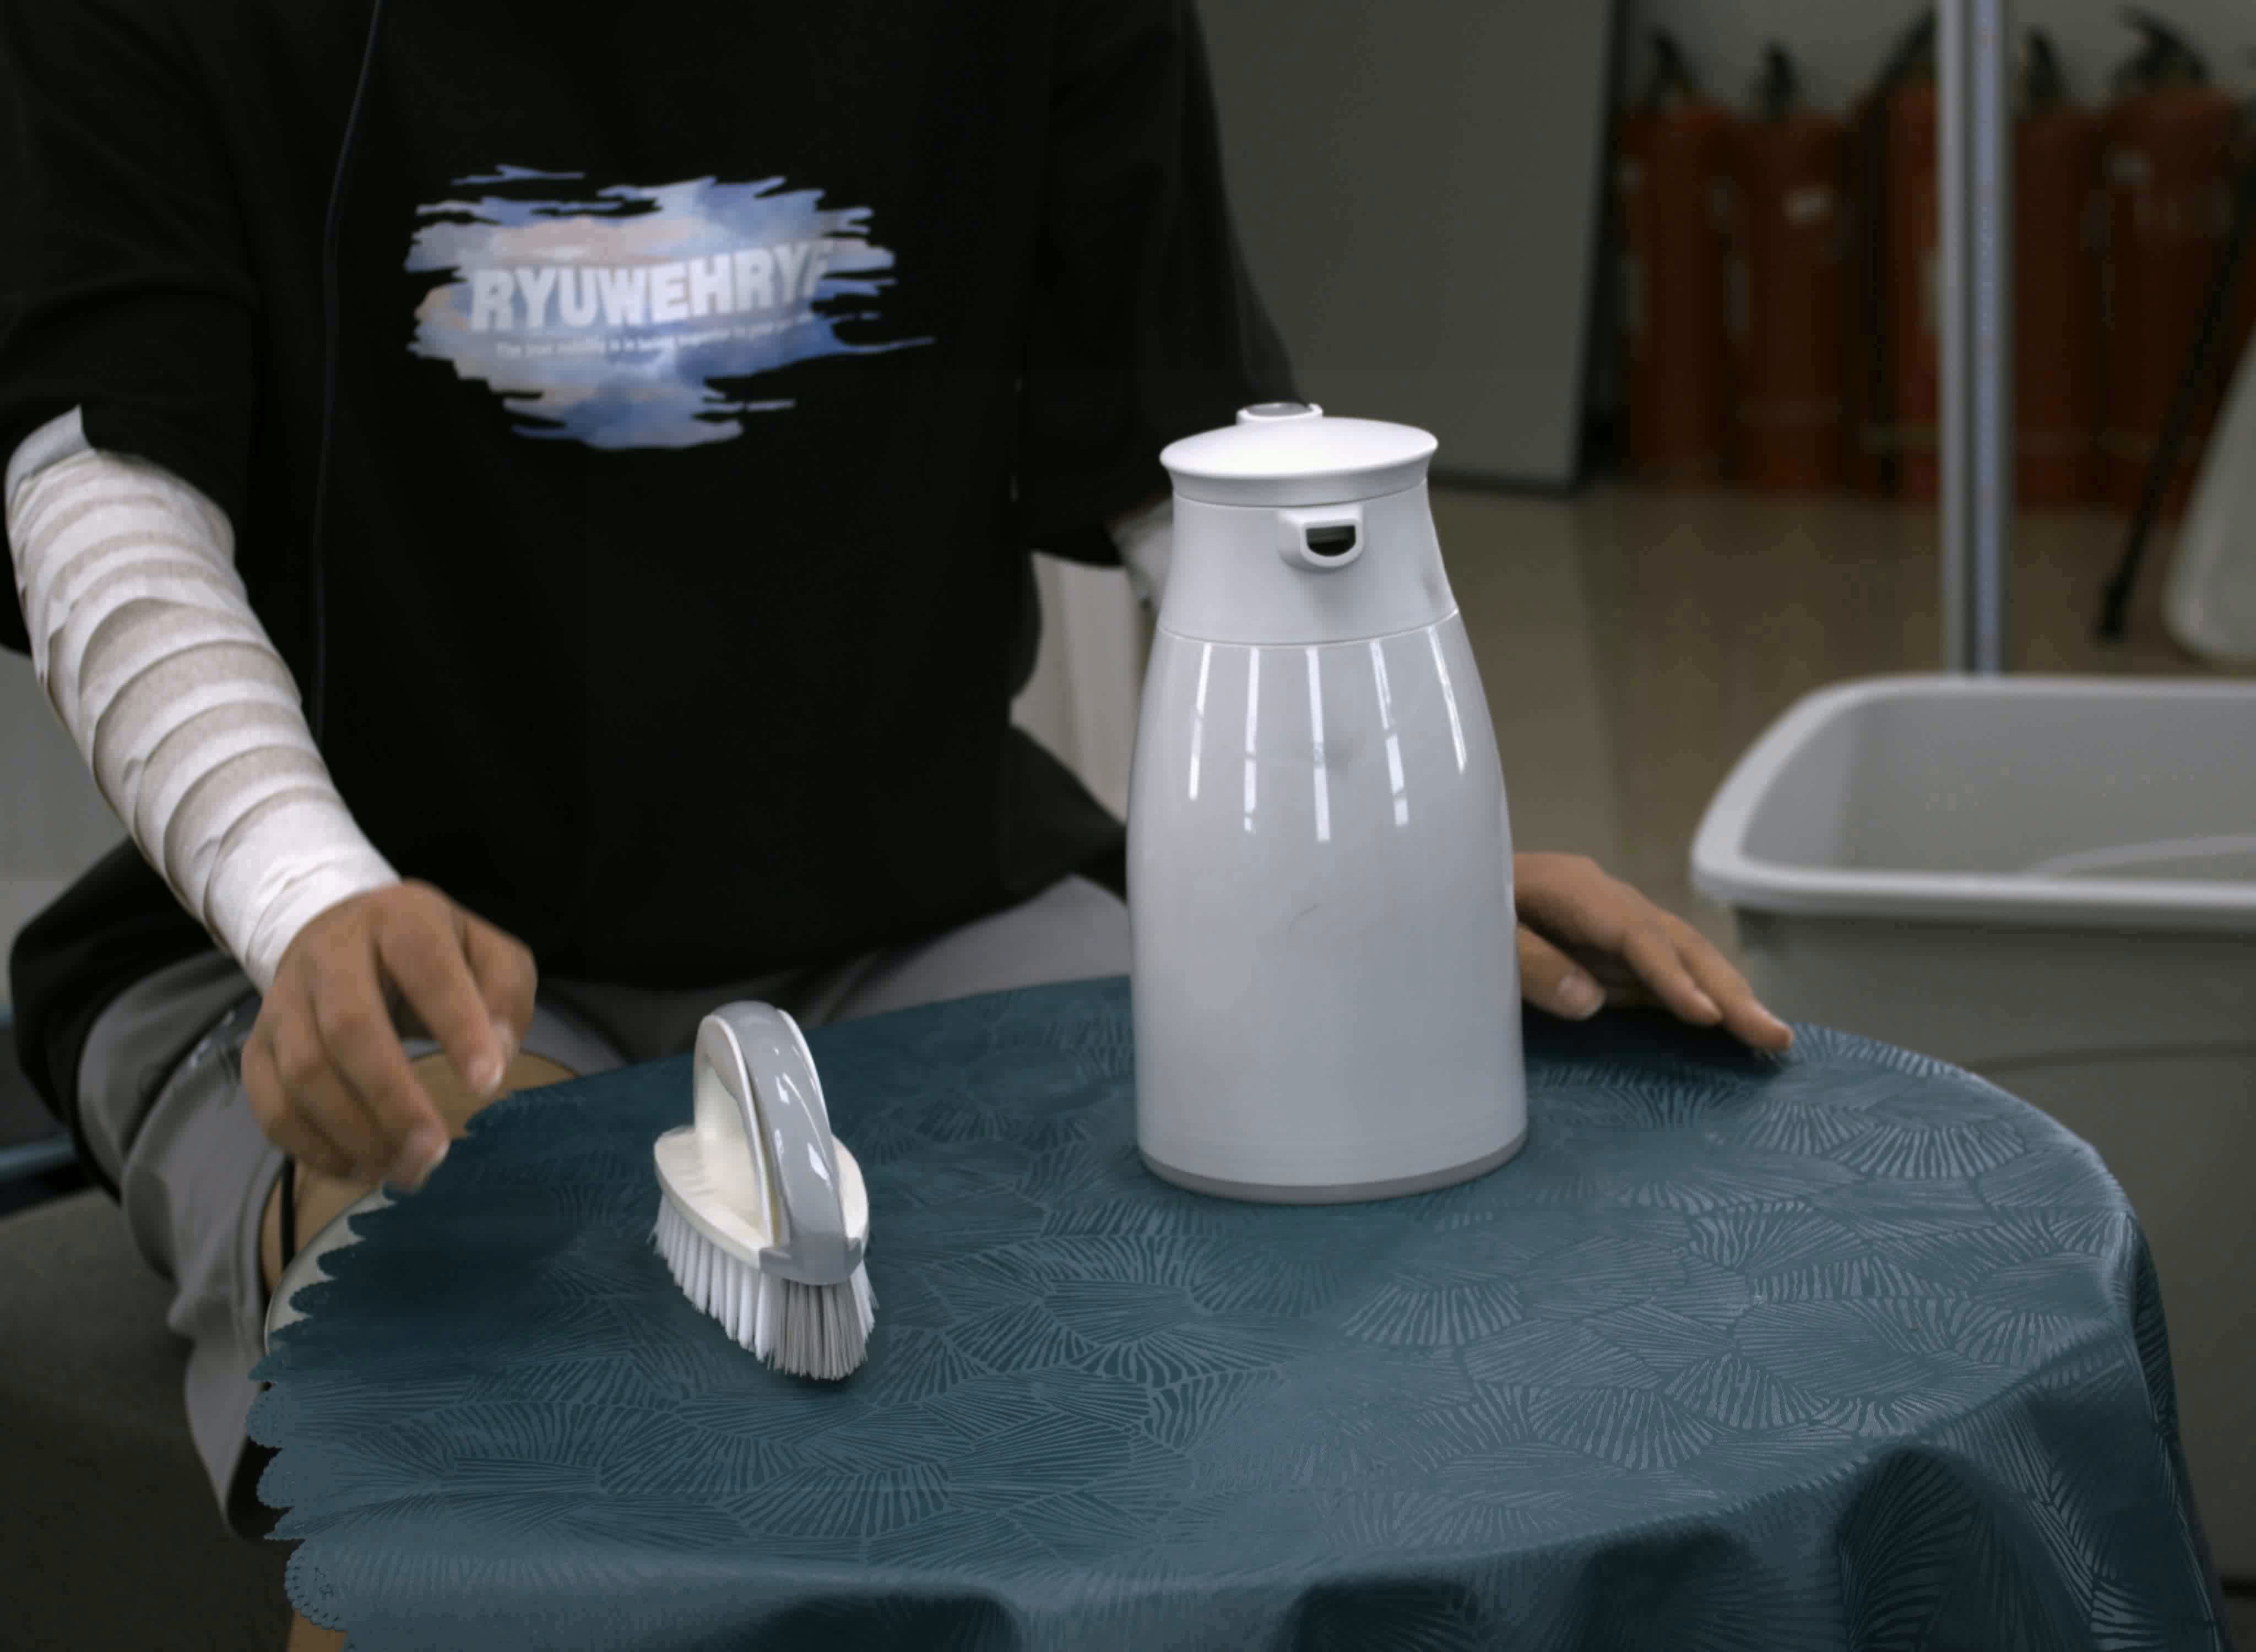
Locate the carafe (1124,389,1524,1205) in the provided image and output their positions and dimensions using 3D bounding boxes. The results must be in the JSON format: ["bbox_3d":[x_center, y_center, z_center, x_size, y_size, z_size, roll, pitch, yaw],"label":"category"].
[{"bbox_3d":[0.057,-0.017,1.798,0.130,0.251,0.168,-6,12,-7],"label":"carafe"}]

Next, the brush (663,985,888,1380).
[{"bbox_3d":[-0.107,0.105,1.674,0.060,0.095,0.177,-9,16,-11],"label":"brush"}]
